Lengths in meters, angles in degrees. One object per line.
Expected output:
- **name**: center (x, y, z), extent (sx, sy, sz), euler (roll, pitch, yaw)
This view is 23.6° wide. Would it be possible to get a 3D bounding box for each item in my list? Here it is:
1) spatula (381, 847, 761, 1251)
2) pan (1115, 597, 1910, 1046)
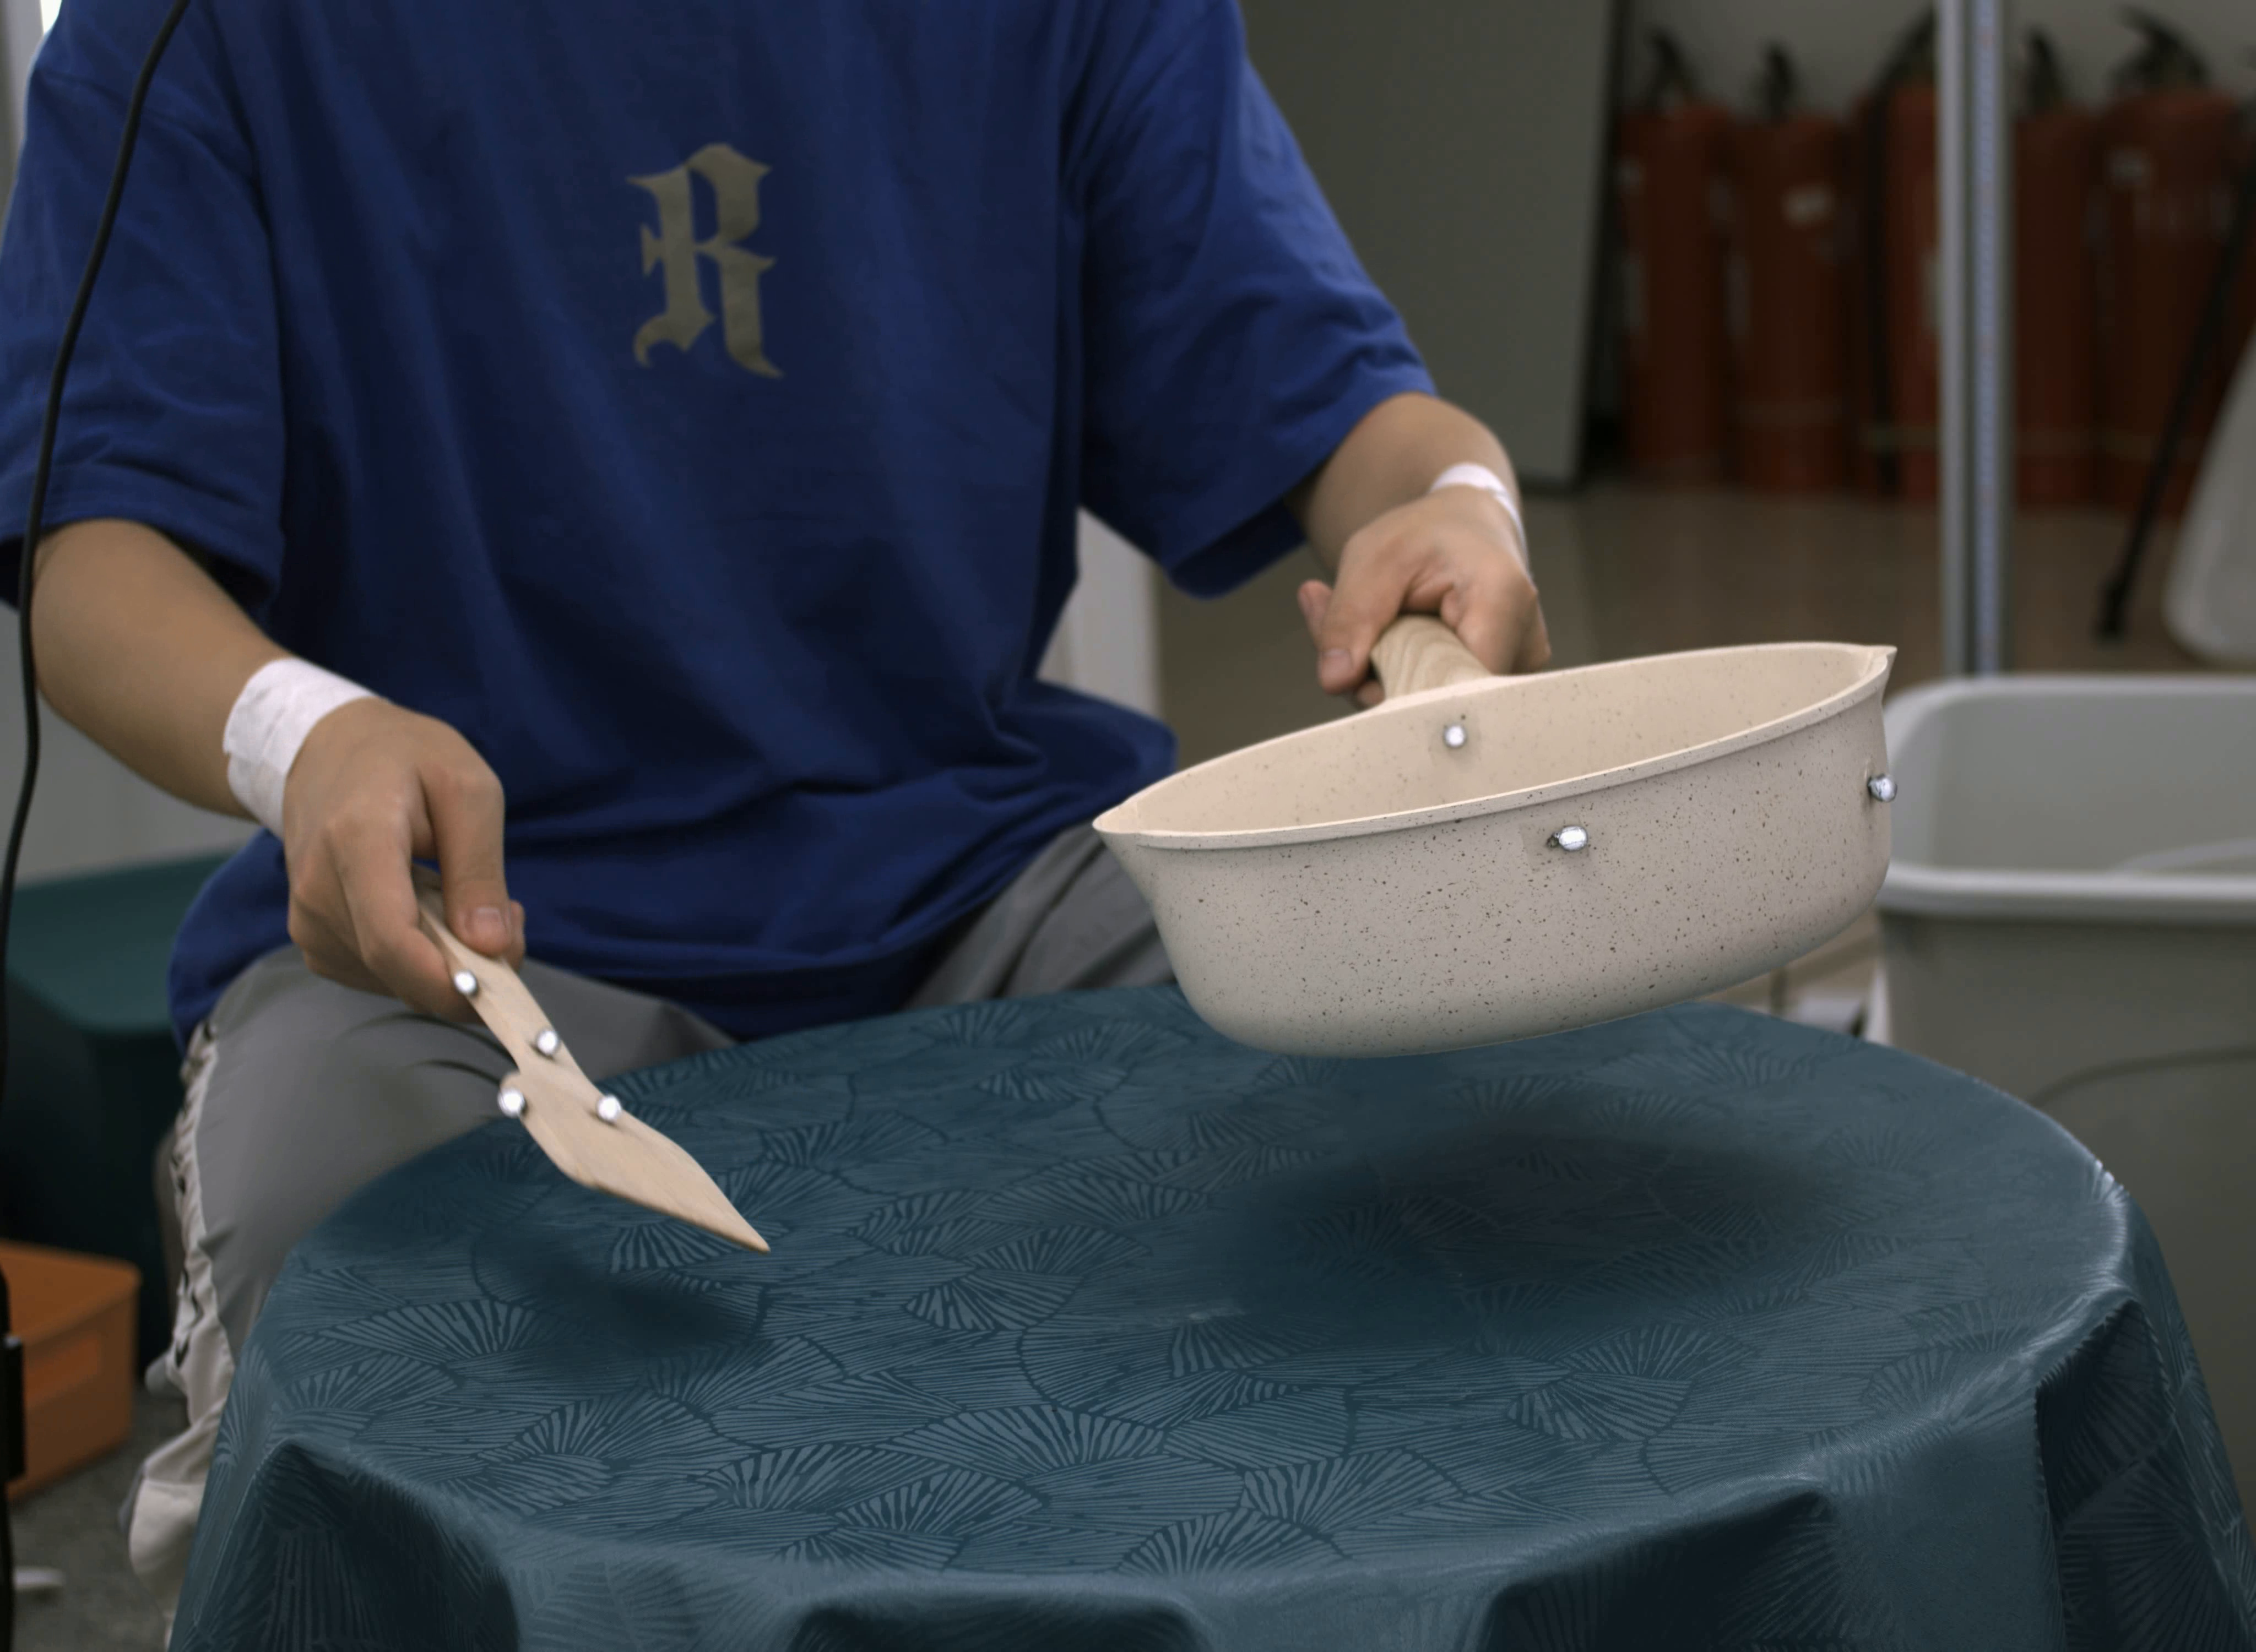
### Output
- **spatula**: center (-0.195, 0.065, 1.760), extent (0.071, 0.011, 0.296), euler (26, 9, -31)
- **pan**: center (0.120, -0.013, 1.796), extent (0.260, 0.103, 0.436), euler (-15, 7, -3)
